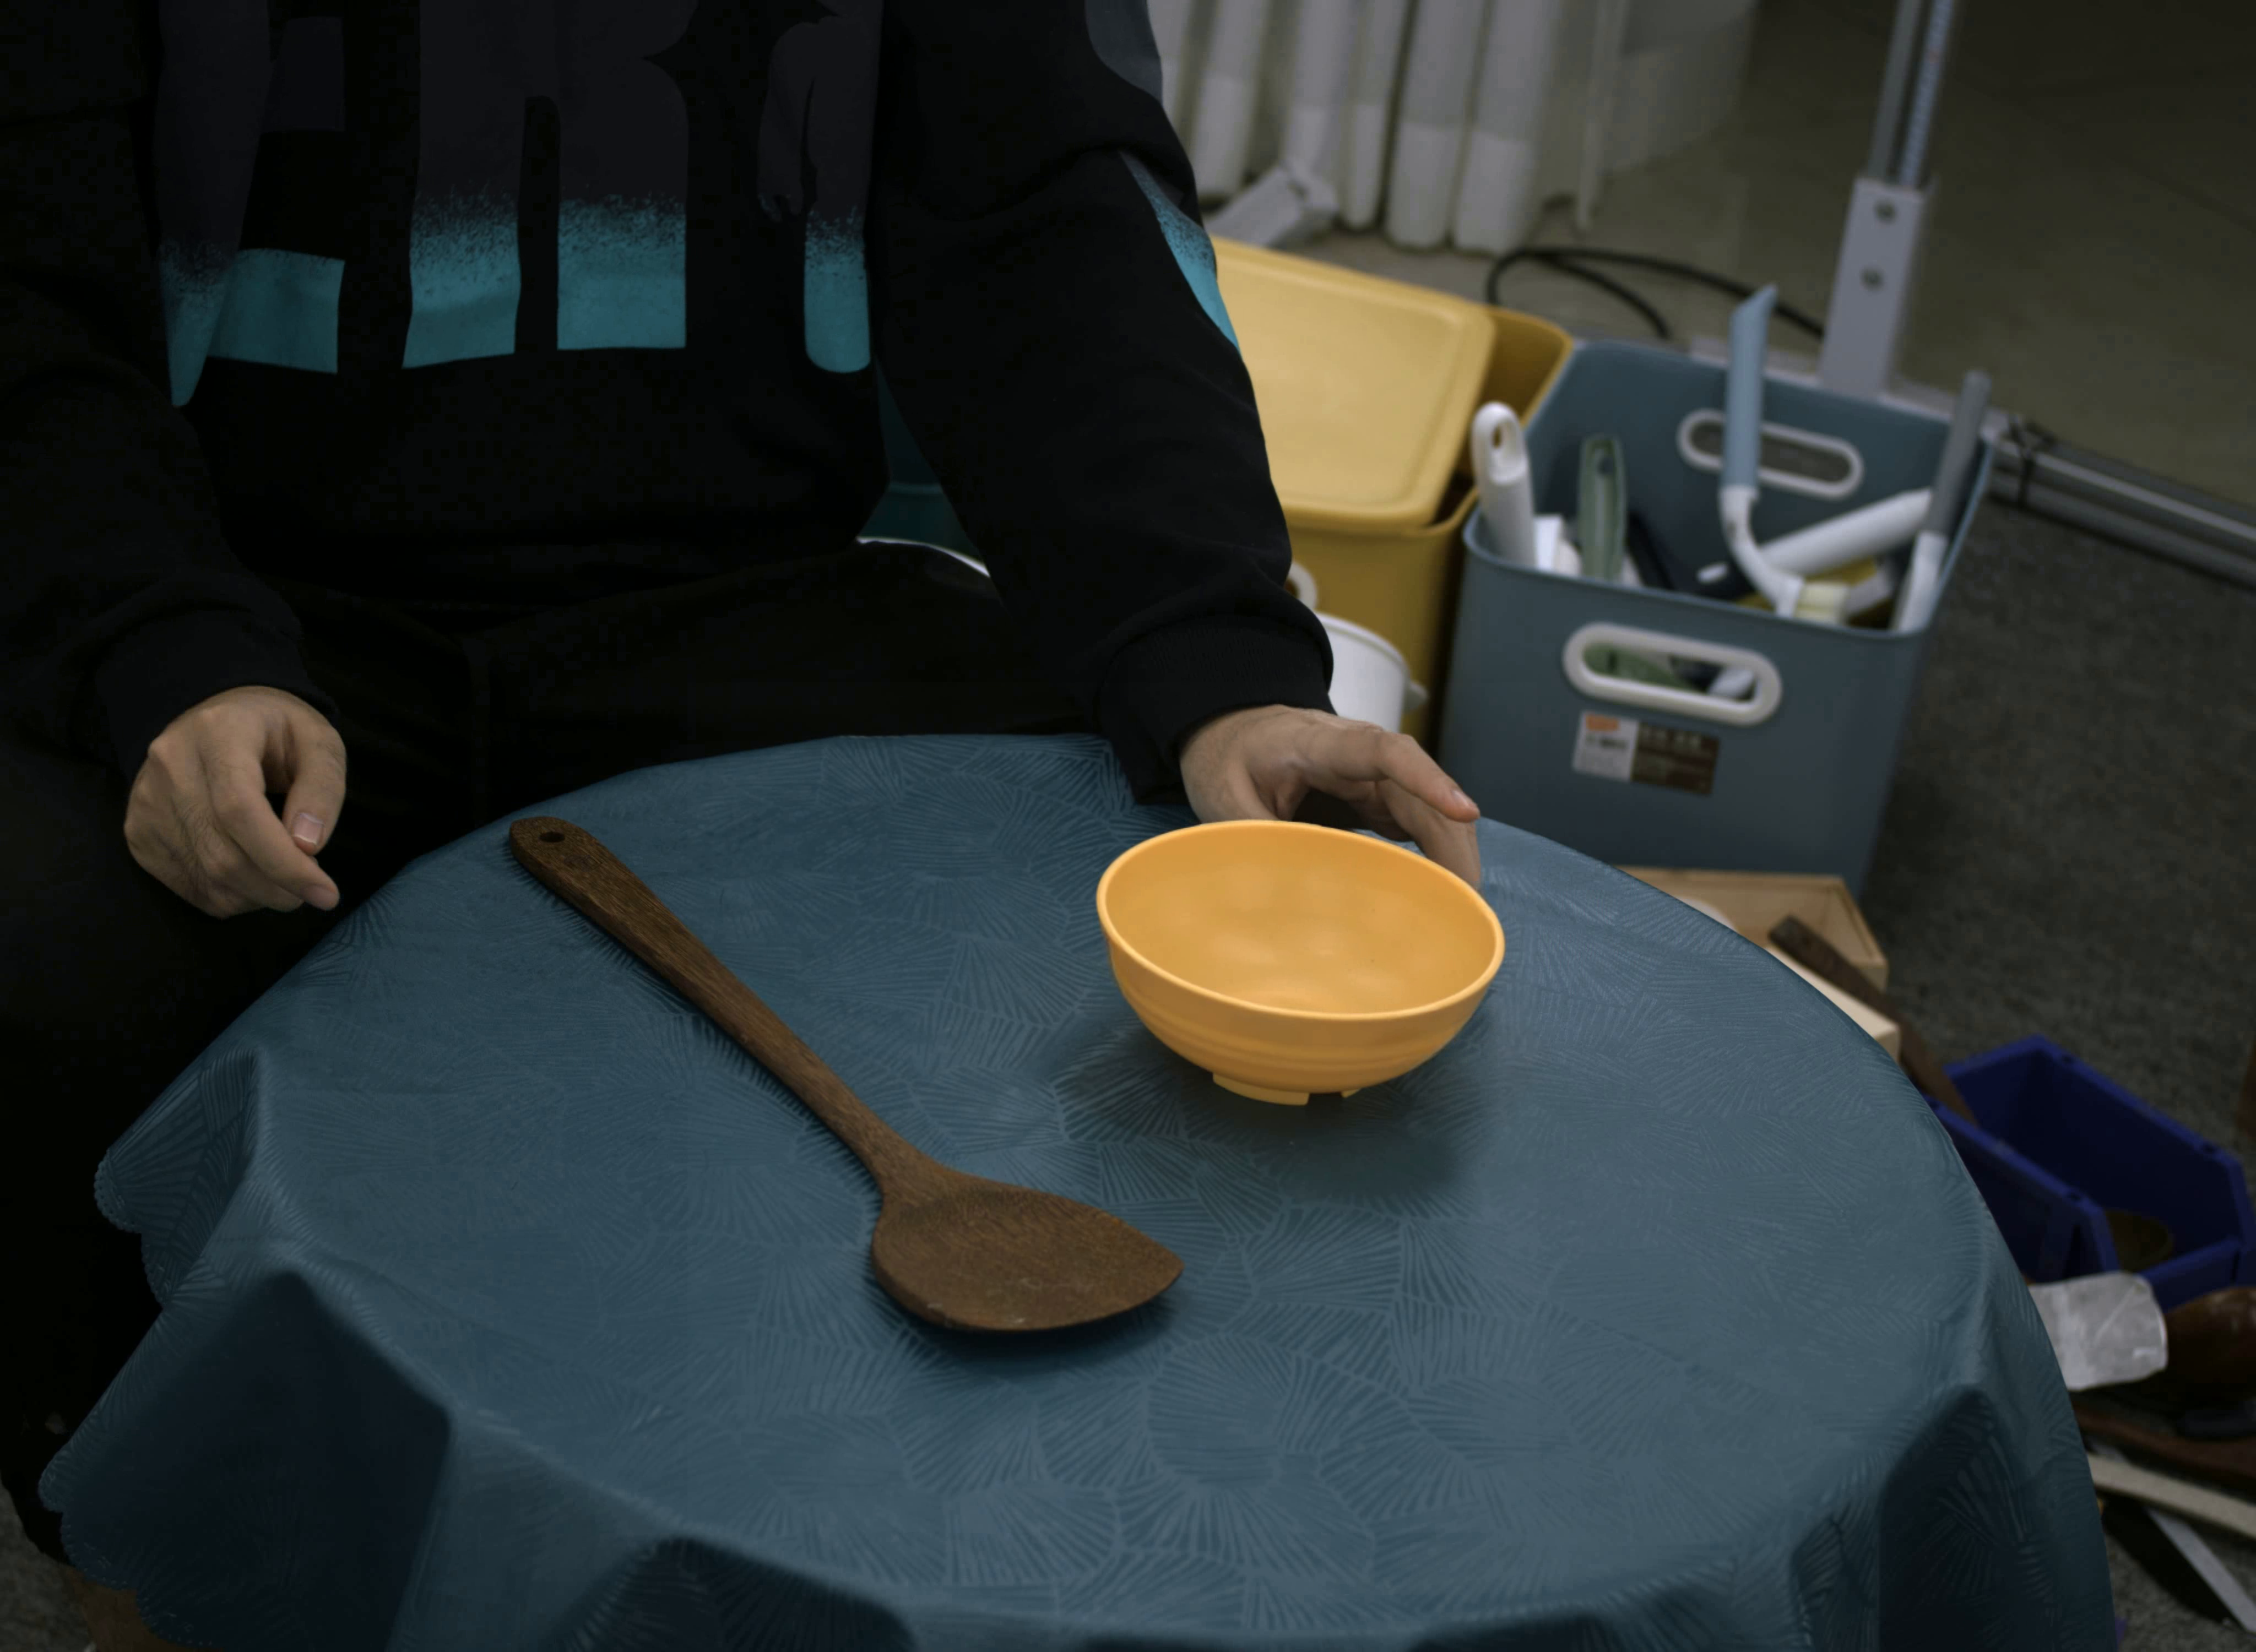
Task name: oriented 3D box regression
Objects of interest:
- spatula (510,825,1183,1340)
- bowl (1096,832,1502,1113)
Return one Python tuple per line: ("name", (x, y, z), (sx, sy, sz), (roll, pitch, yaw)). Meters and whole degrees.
("spatula", (-0.118, 0.081, 1.844), (0.095, 0.016, 0.389), (-11, 31, -32))
("bowl", (0.056, 0.060, 1.879), (0.145, 0.060, 0.146), (7, 24, -3))
